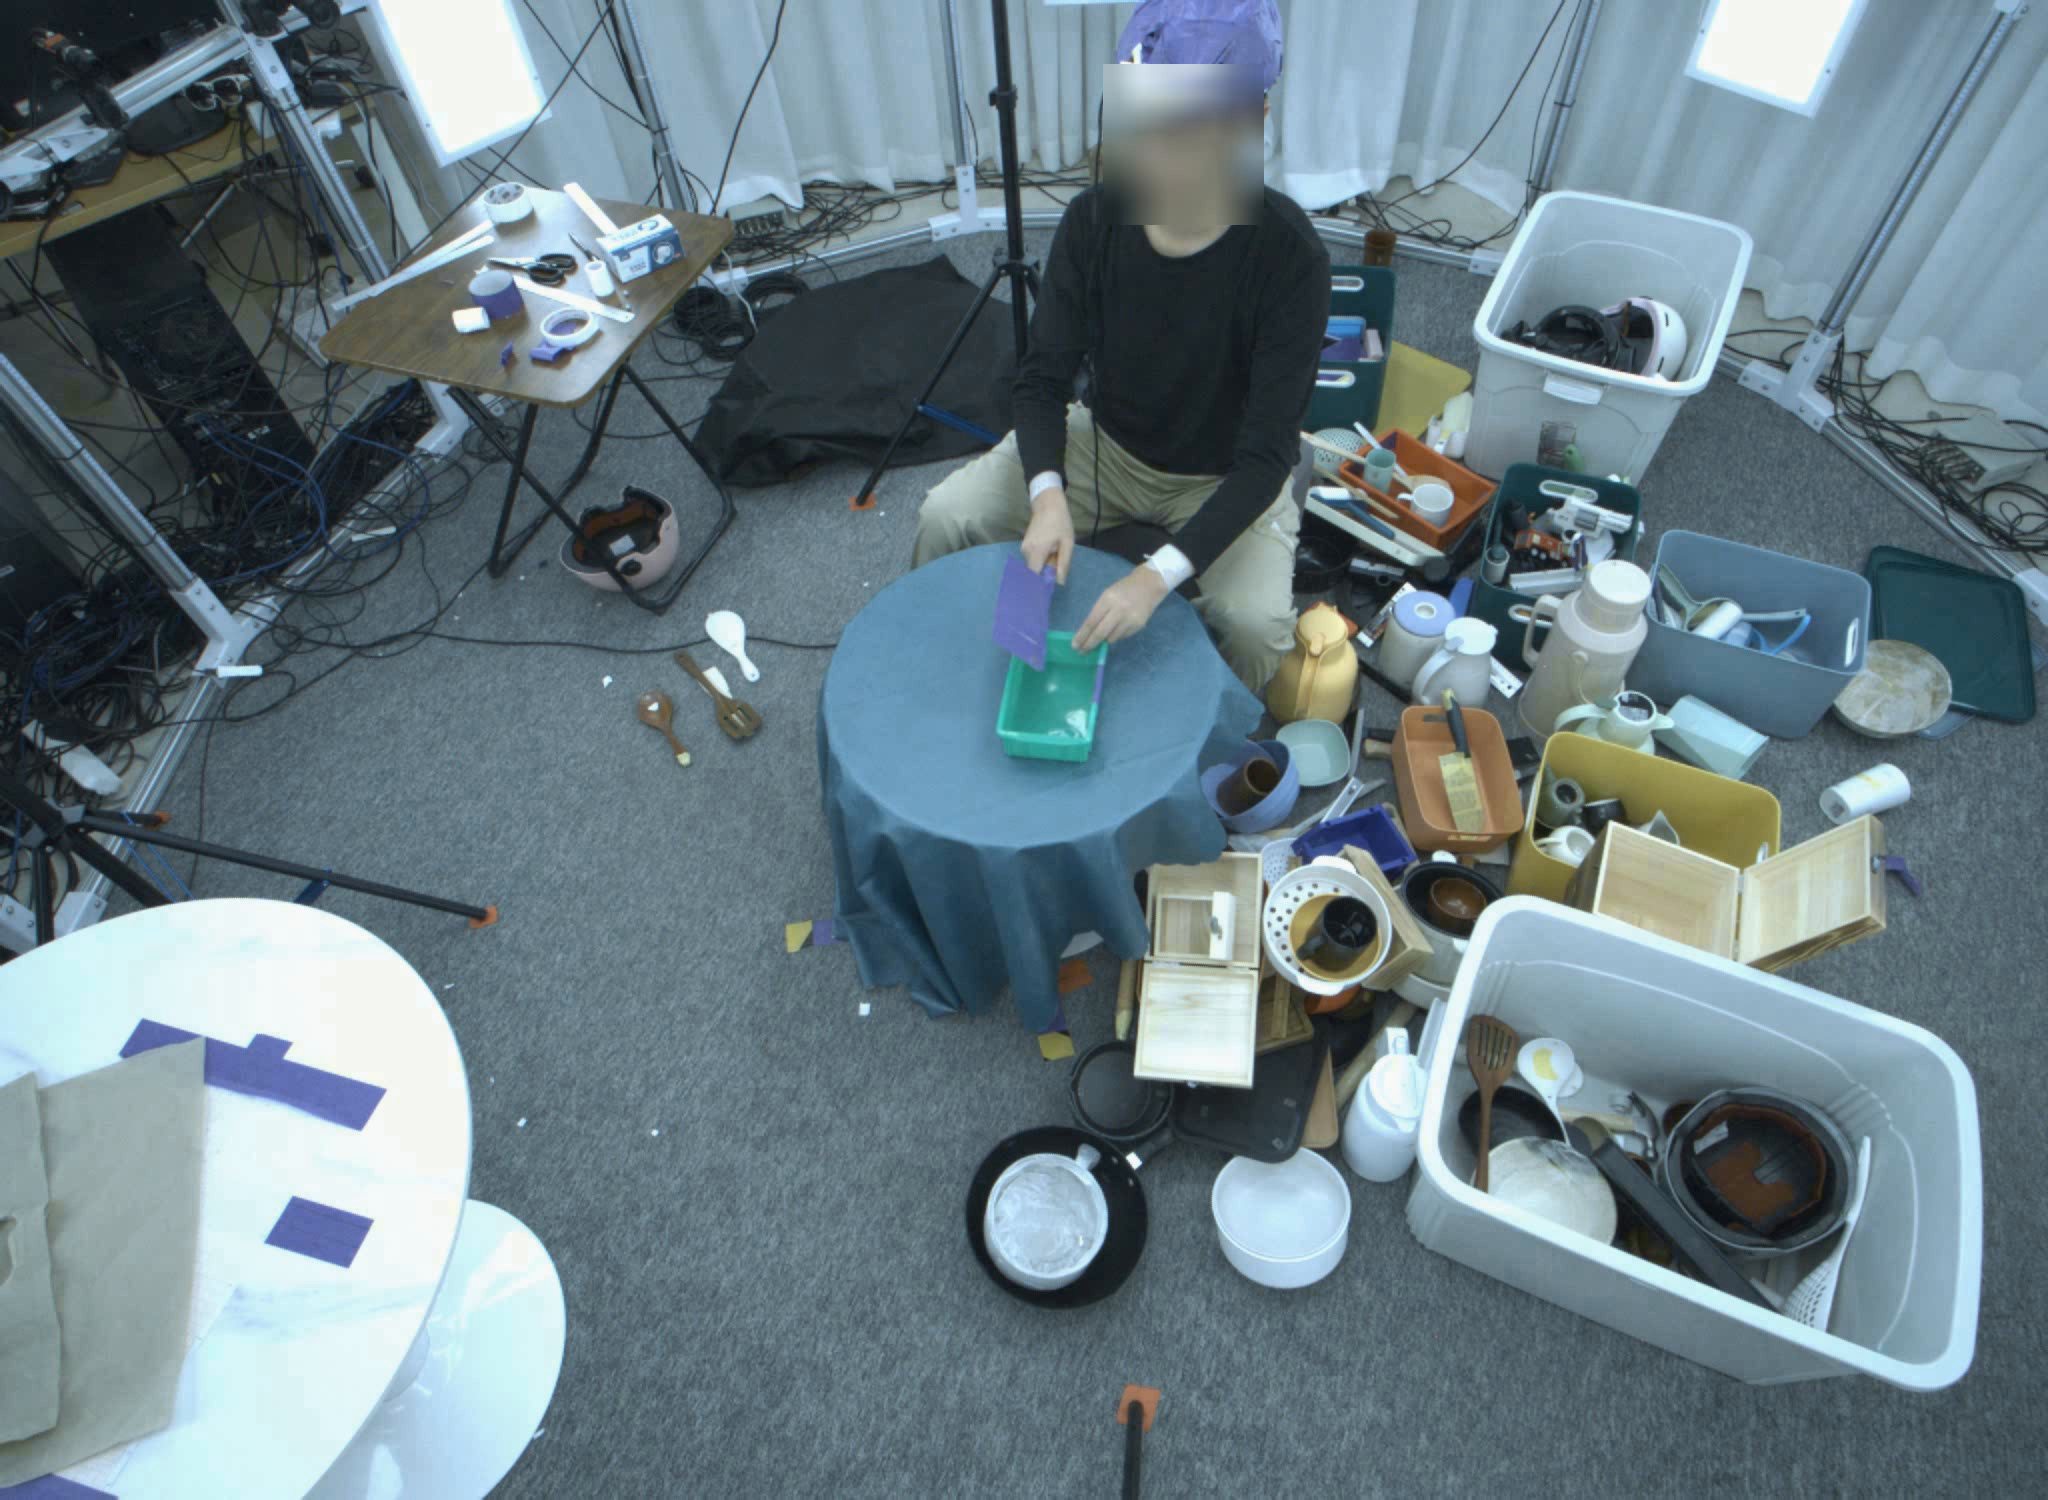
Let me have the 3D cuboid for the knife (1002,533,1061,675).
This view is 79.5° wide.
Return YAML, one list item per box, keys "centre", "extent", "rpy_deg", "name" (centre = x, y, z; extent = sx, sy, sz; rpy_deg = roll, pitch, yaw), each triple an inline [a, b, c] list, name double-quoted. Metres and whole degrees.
- centre: [0.012, -0.239, 1.827]
  extent: [0.106, 0.032, 0.312]
  rpy_deg: [32, 38, -25]
  name: "knife"

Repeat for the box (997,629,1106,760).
- centre: [0.043, -0.079, 1.804]
  extent: [0.138, 0.066, 0.209]
  rpy_deg: [6, 53, 5]
  name: "box"
